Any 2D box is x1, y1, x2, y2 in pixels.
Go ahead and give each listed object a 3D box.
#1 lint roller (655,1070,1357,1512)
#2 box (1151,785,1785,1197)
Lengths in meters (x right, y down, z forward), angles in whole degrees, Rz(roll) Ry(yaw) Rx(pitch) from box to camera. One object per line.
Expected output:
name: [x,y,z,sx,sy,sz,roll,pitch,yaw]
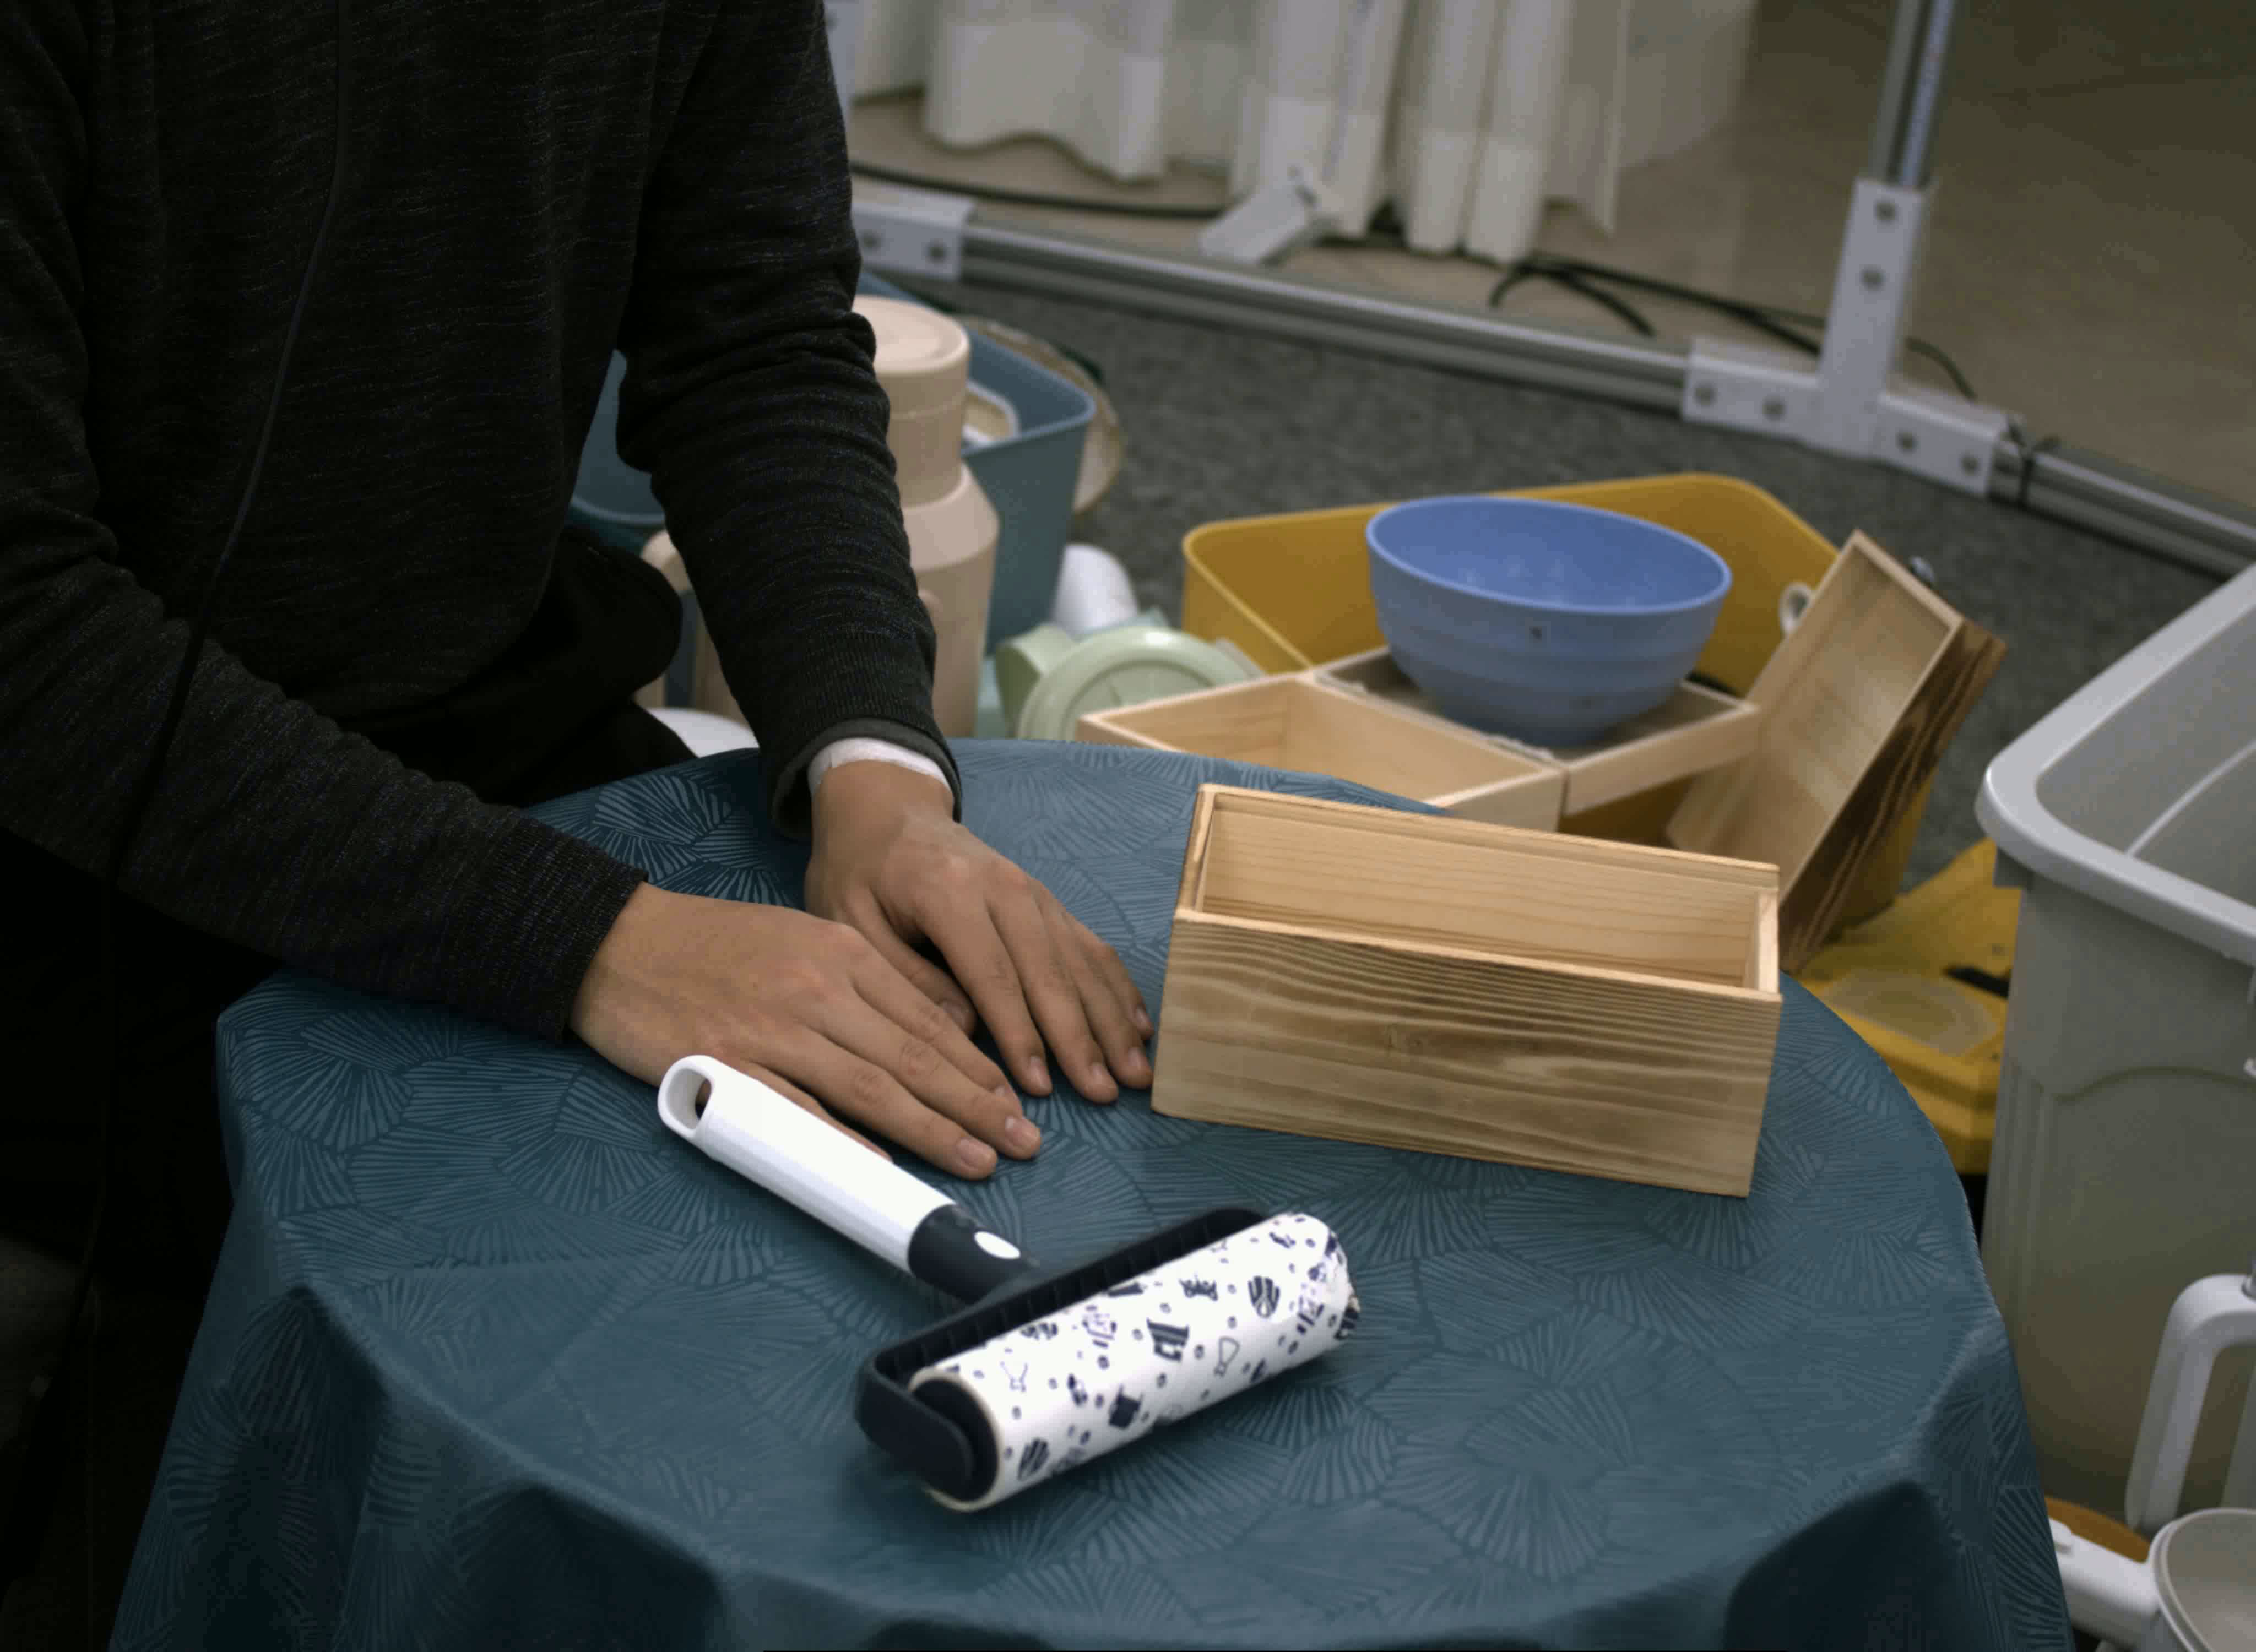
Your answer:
lint roller: [-0.070,0.130,1.727,0.175,0.050,0.249,-20,36,-41]
box: [0.120,0.057,1.872,0.211,0.080,0.108,8,26,3]
